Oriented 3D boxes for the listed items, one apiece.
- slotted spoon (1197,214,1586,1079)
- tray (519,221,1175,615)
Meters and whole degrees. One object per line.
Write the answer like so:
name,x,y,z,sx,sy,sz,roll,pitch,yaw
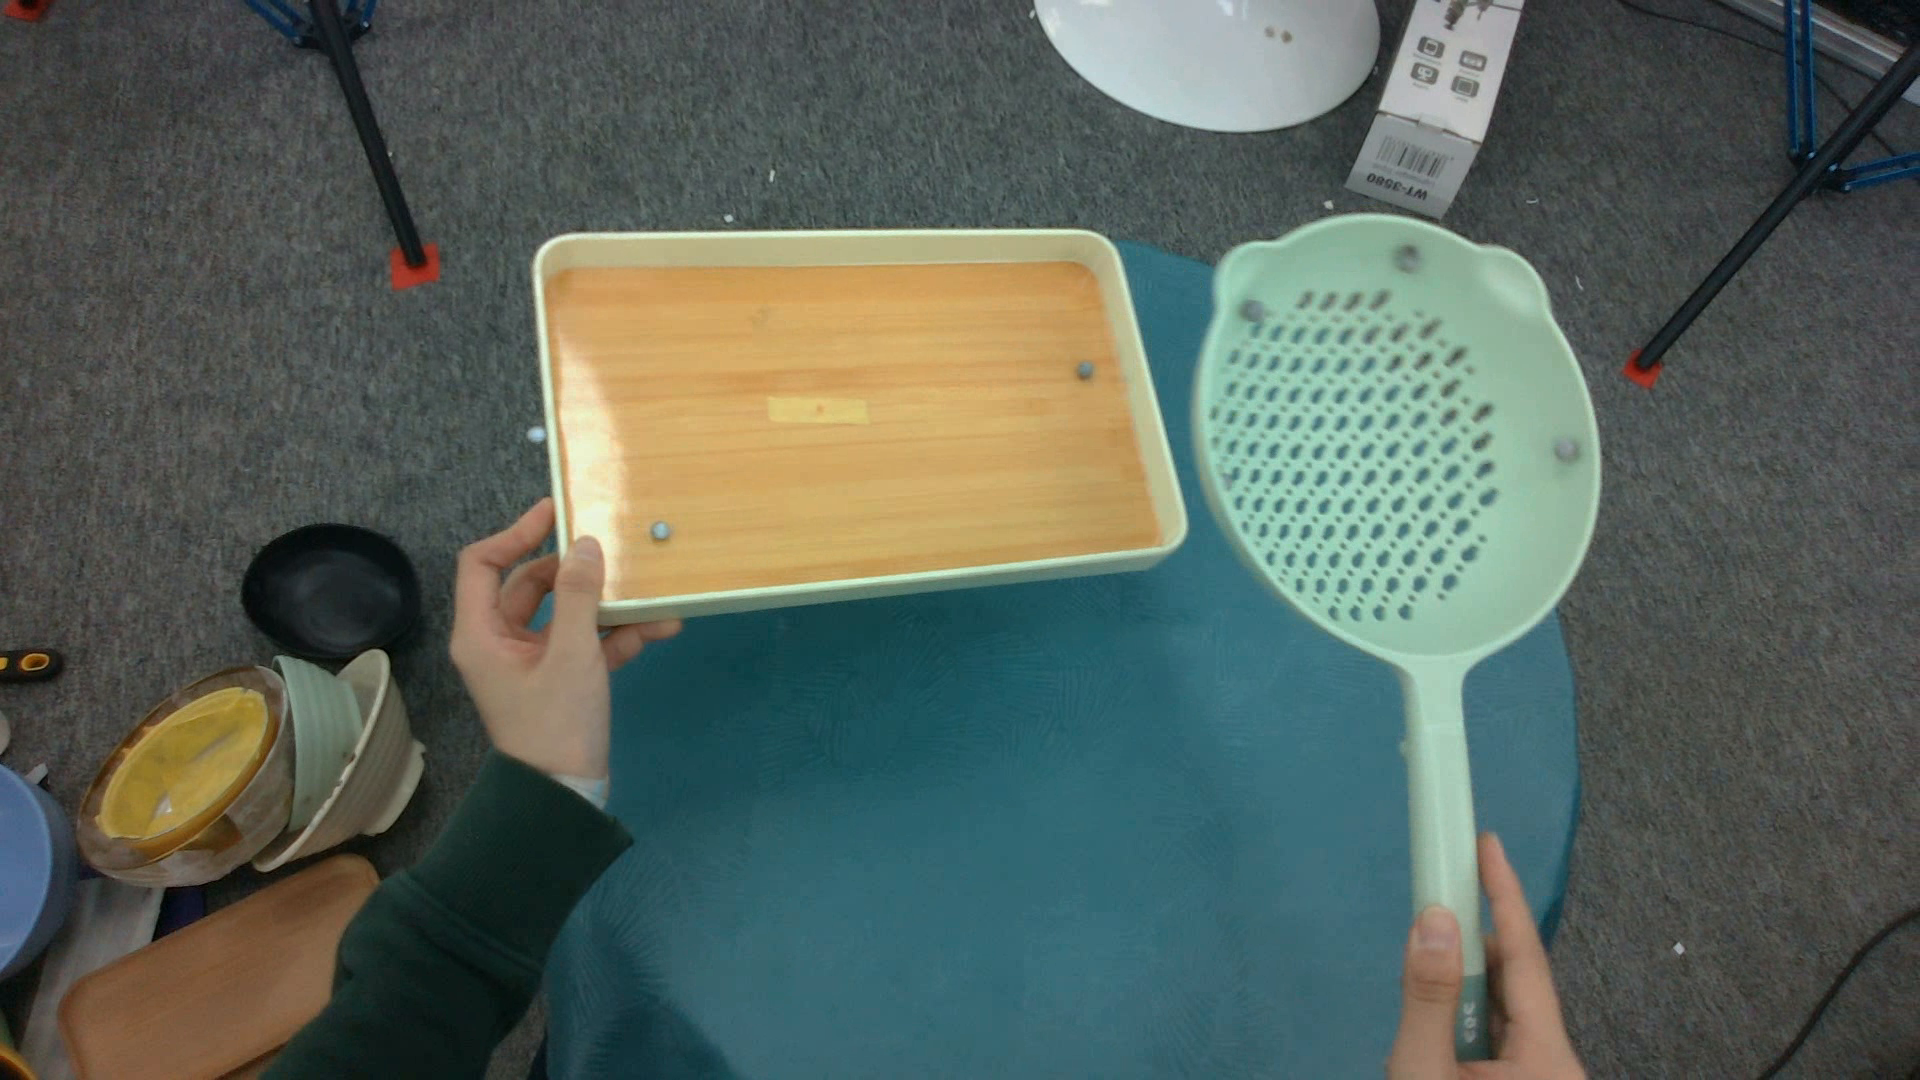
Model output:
slotted spoon,0.170,0.054,0.525,0.169,0.075,0.359,1,73,-16
tray,-0.052,-0.069,0.674,0.301,0.027,0.192,-5,68,-19
